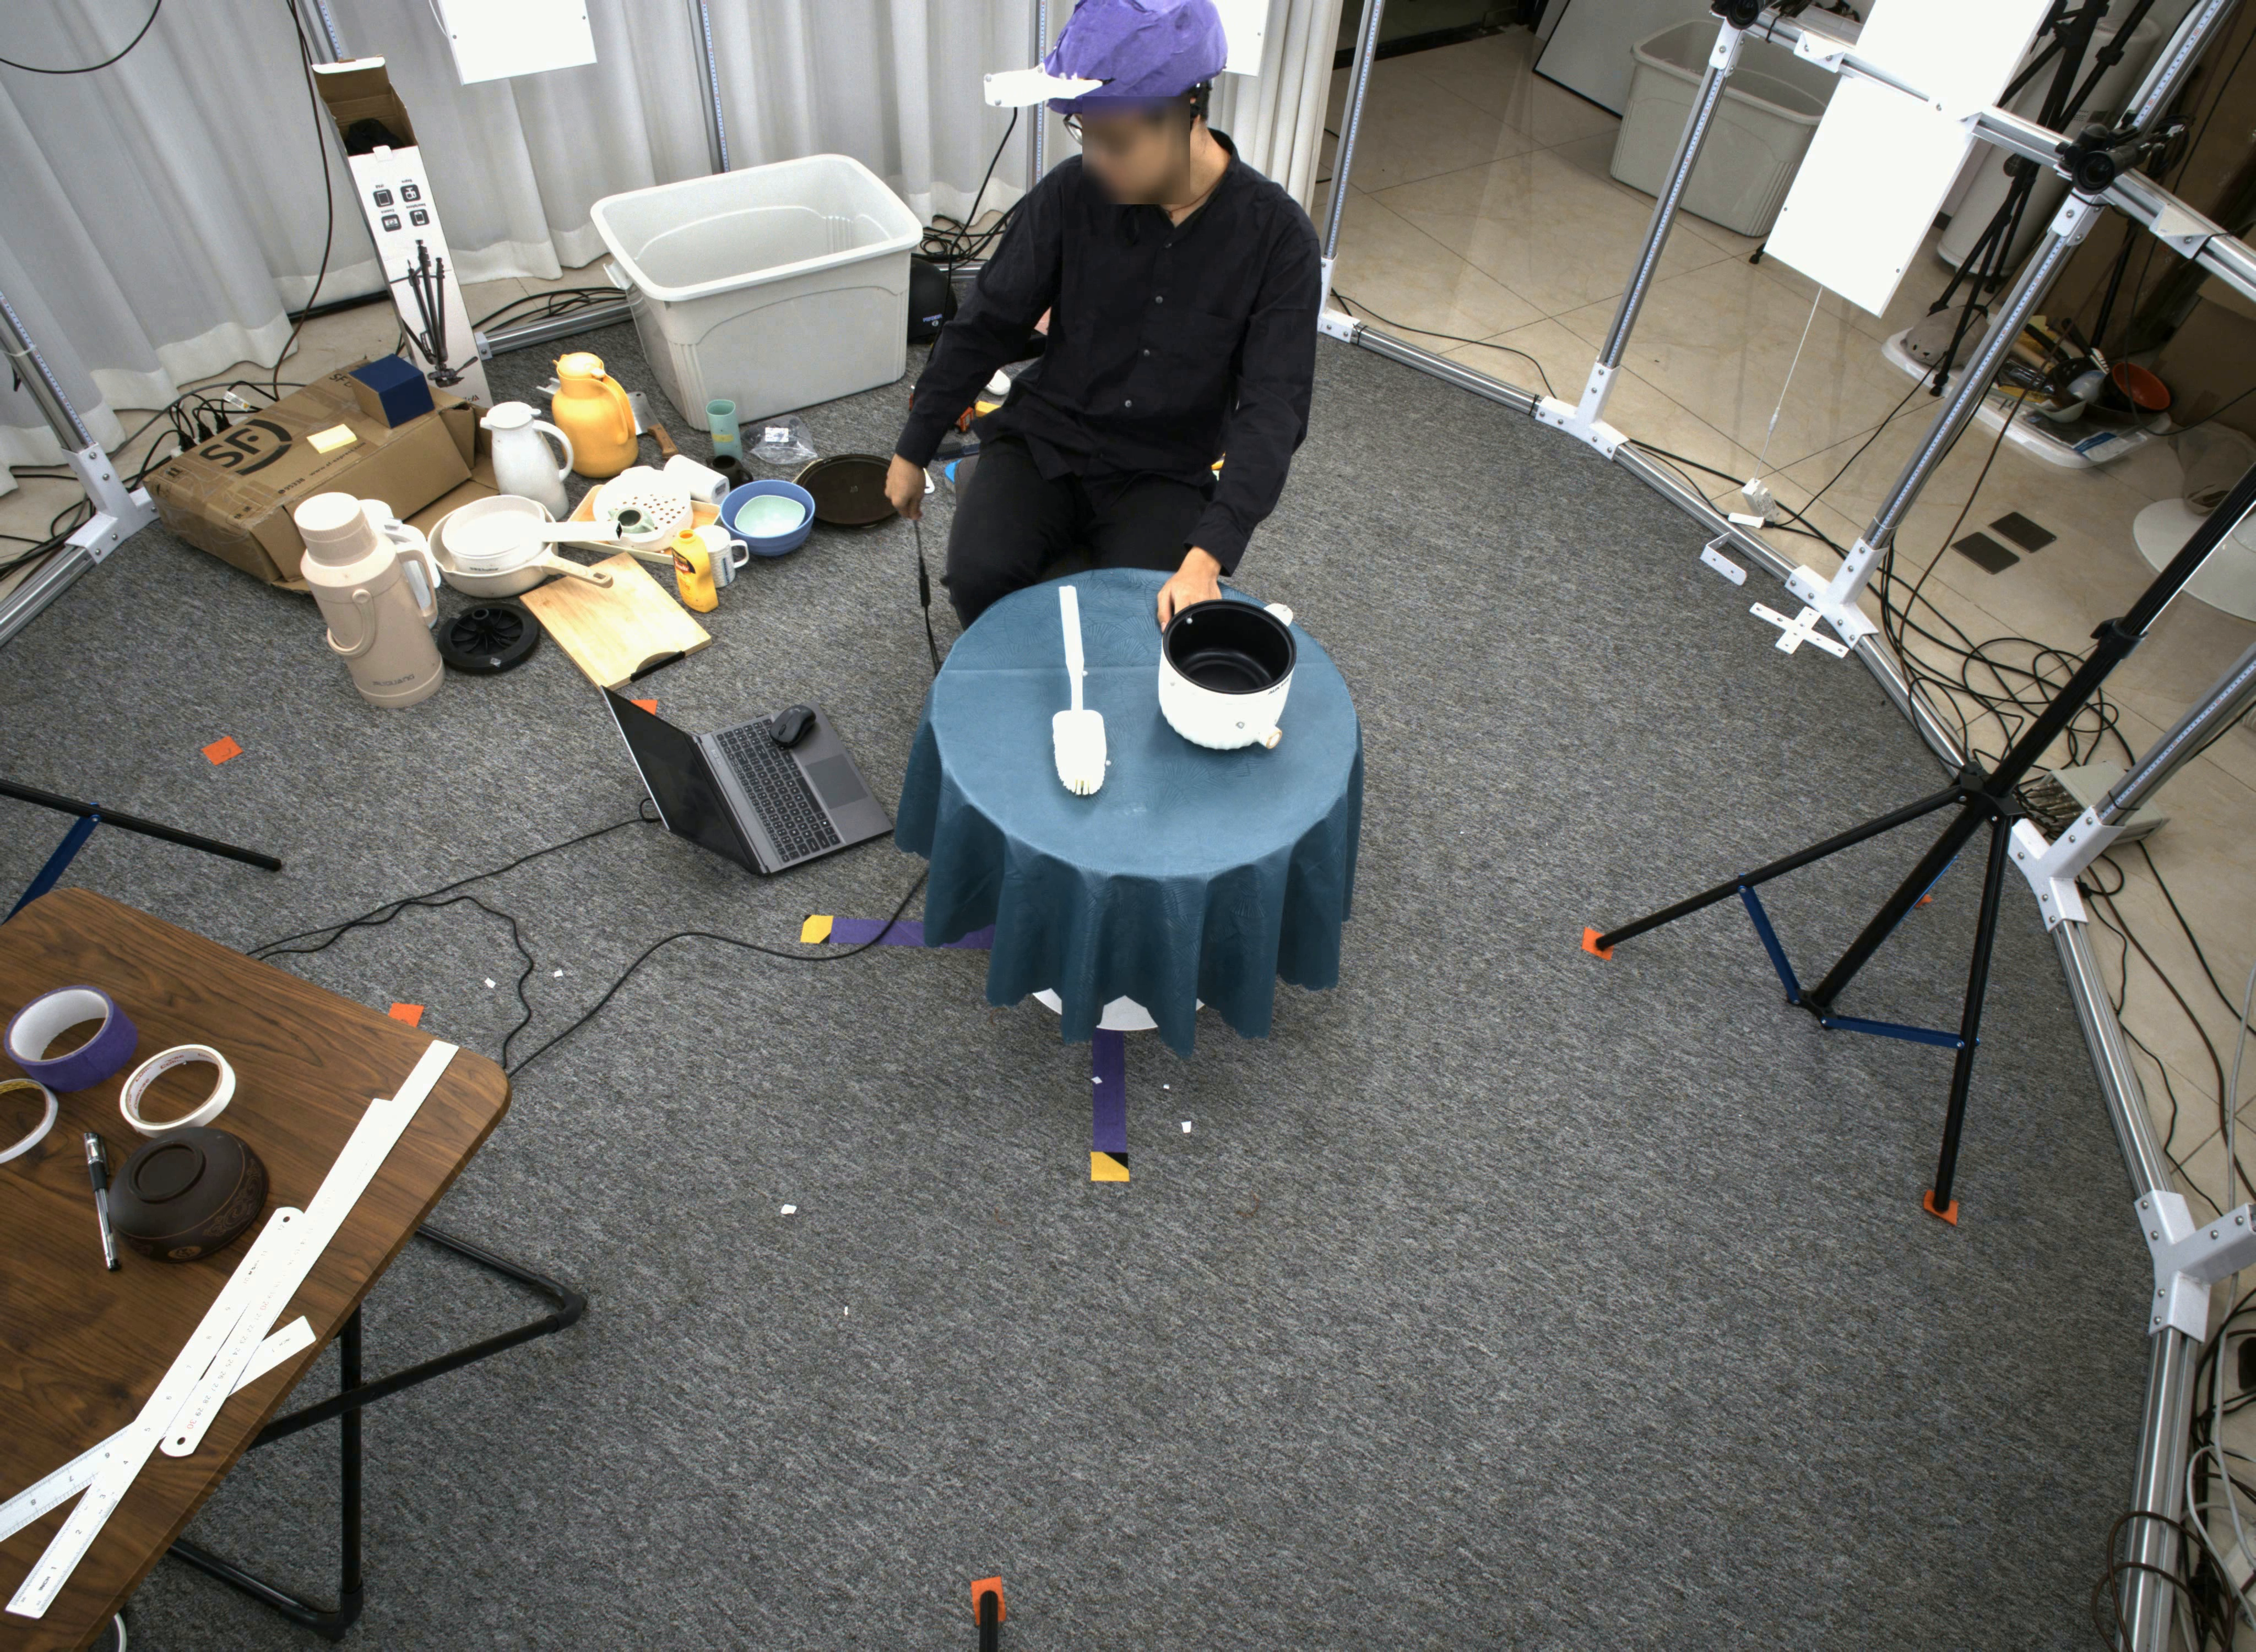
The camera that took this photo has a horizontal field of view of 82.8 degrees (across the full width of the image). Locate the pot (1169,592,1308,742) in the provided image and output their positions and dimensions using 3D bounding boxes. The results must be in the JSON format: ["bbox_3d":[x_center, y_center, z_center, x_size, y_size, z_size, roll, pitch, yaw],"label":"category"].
[{"bbox_3d":[0.151,-0.208,1.764,0.193,0.139,0.243,36,57,26],"label":"pot"}]

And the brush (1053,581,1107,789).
[{"bbox_3d":[-0.068,-0.192,1.774,0.082,0.084,0.332,19,53,-38],"label":"brush"}]
